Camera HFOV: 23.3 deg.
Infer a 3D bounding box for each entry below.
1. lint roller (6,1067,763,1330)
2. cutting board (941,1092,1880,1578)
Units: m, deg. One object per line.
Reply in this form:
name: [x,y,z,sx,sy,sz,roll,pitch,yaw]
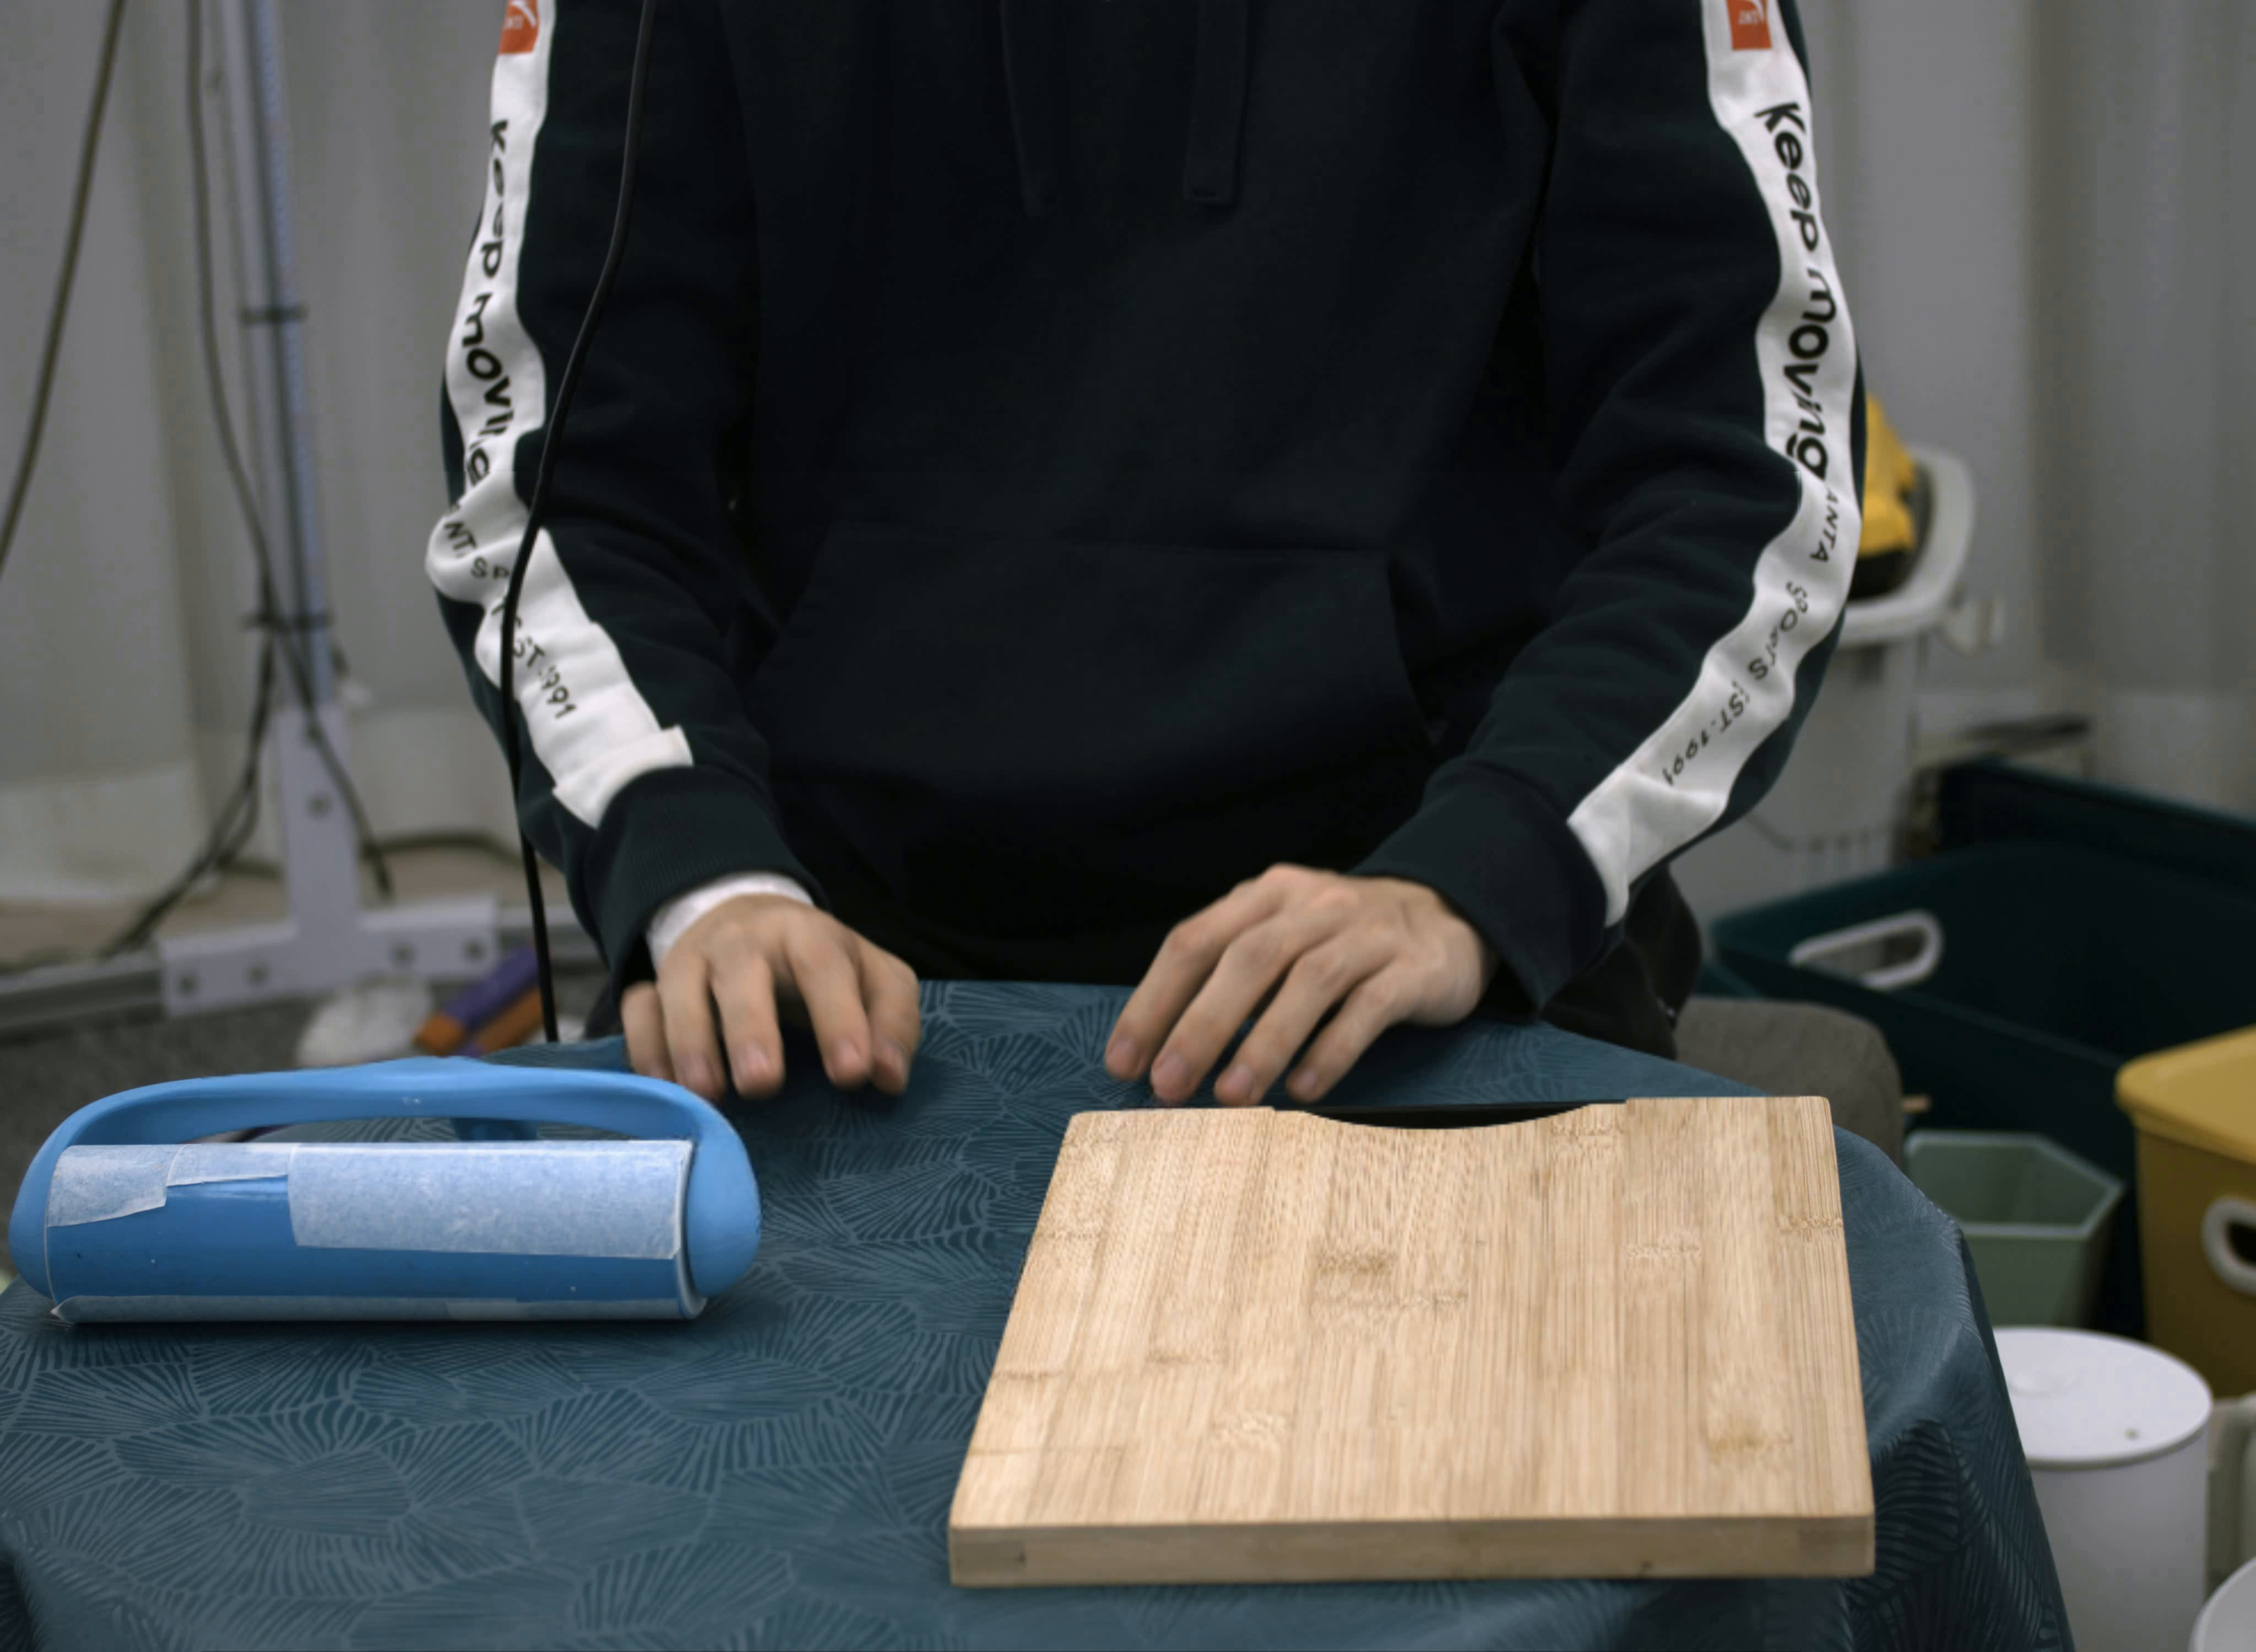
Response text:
lint roller: [-0.218,0.105,1.686,0.228,0.067,0.181,-3,15,5]
cutting board: [0.087,0.141,1.567,0.250,0.023,0.351,-2,15,5]
